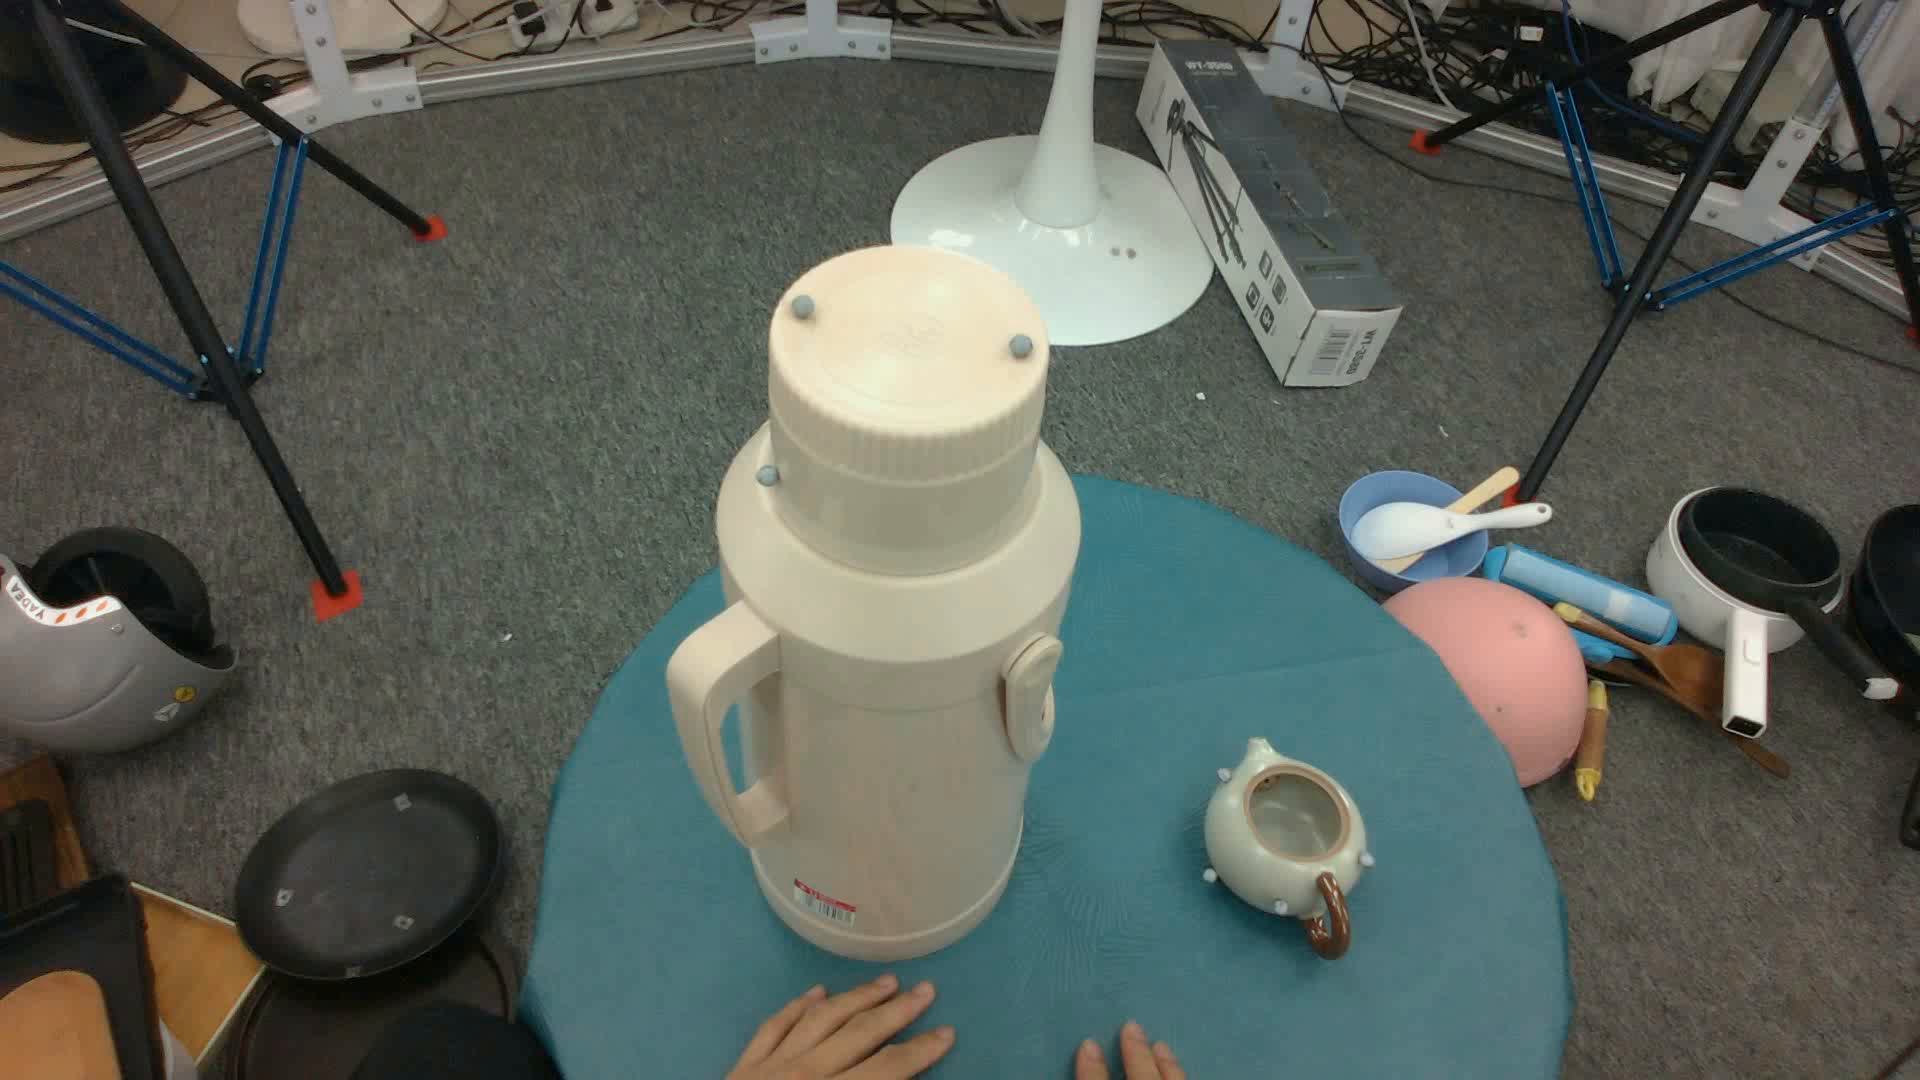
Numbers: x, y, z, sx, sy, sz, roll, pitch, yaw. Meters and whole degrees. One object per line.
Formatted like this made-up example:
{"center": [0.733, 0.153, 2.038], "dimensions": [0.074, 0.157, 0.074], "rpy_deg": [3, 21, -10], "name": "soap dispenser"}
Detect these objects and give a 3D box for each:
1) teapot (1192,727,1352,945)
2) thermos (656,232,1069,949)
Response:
{"center": [0.185, 0.173, 0.797], "dimensions": [0.092, 0.059, 0.128], "rpy_deg": [-11, 51, -17], "name": "teapot"}
{"center": [-0.050, 0.050, 0.658], "dimensions": [0.175, 0.404, 0.208], "rpy_deg": [40, 57, 22], "name": "thermos"}
